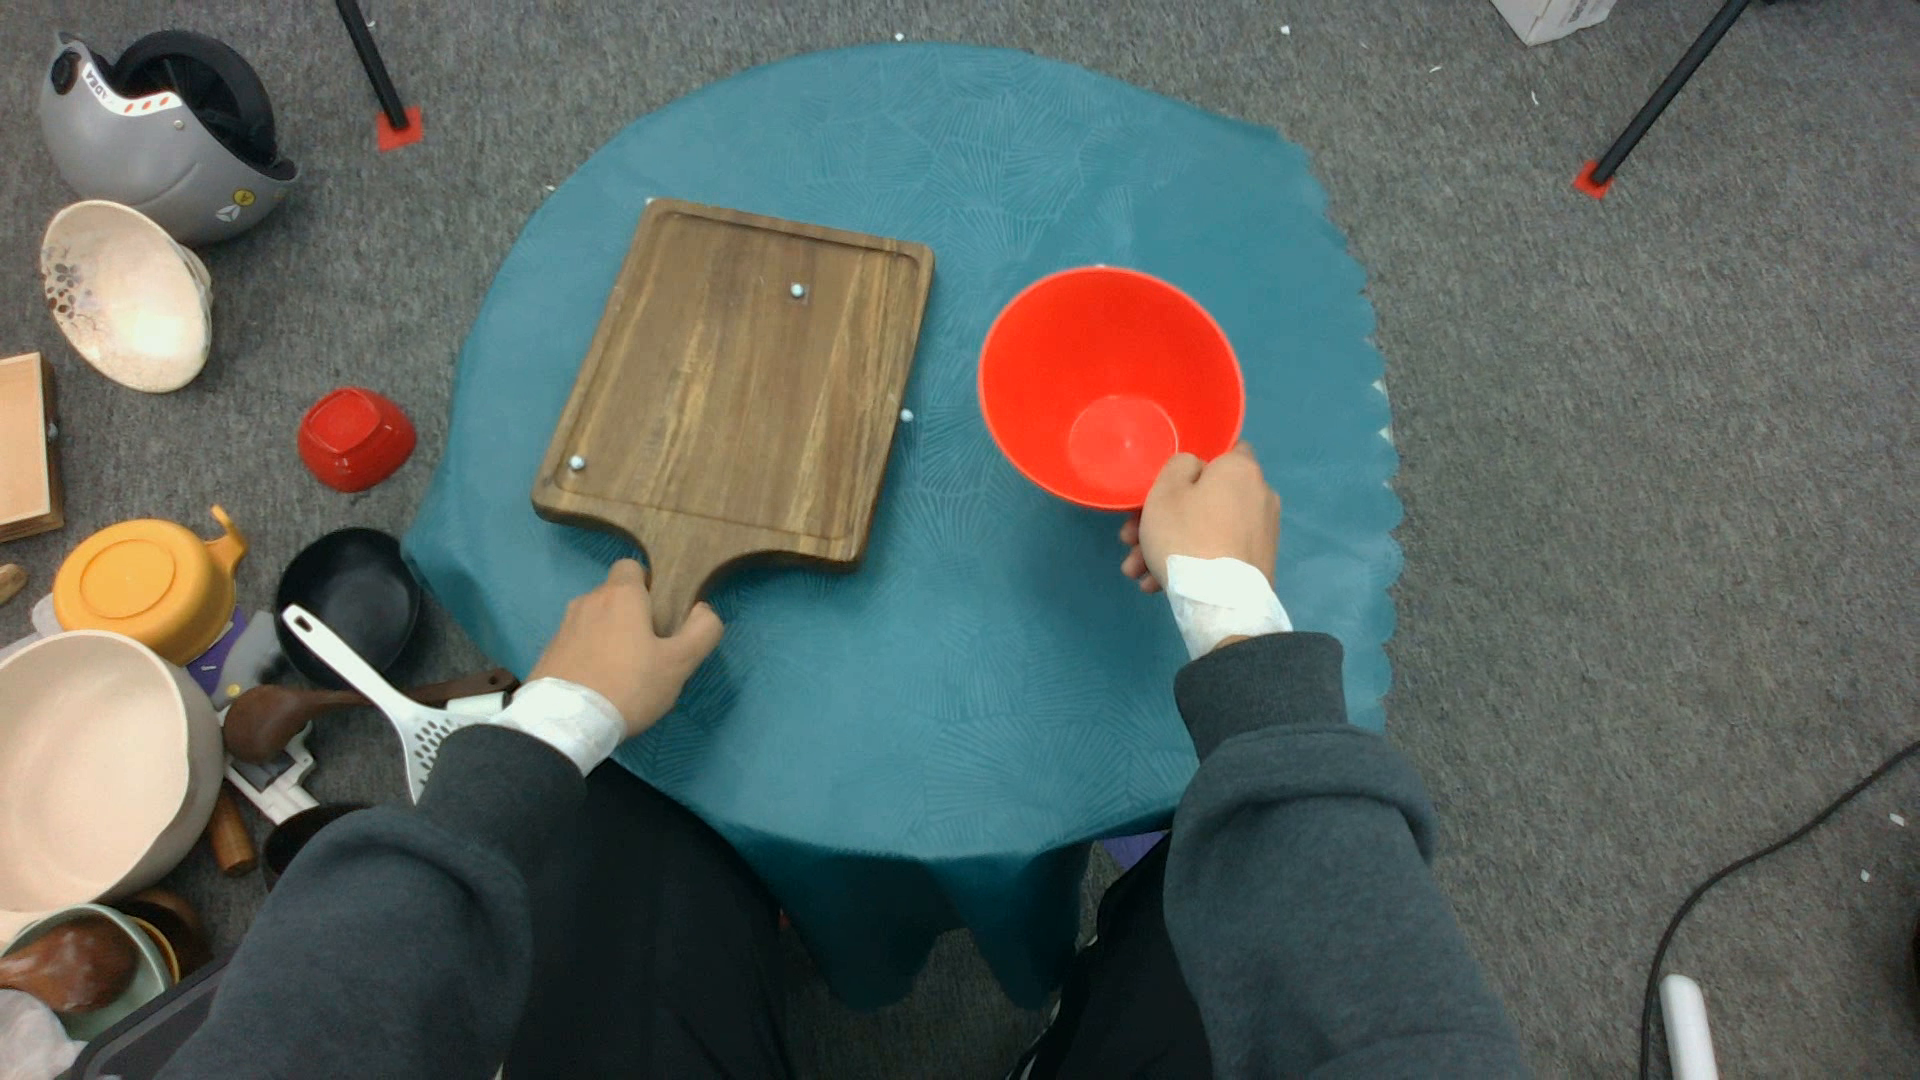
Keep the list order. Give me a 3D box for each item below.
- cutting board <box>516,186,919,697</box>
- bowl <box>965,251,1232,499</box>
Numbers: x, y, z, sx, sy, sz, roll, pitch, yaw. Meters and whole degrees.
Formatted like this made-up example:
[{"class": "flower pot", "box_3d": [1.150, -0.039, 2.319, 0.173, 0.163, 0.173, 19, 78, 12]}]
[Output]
[{"class": "cutting board", "box_3d": [-0.149, -0.069, 0.829, 0.201, 0.023, 0.354, 10, 59, 1]}, {"class": "bowl", "box_3d": [0.079, -0.081, 0.796, 0.148, 0.104, 0.148, -1, 71, 3]}]
